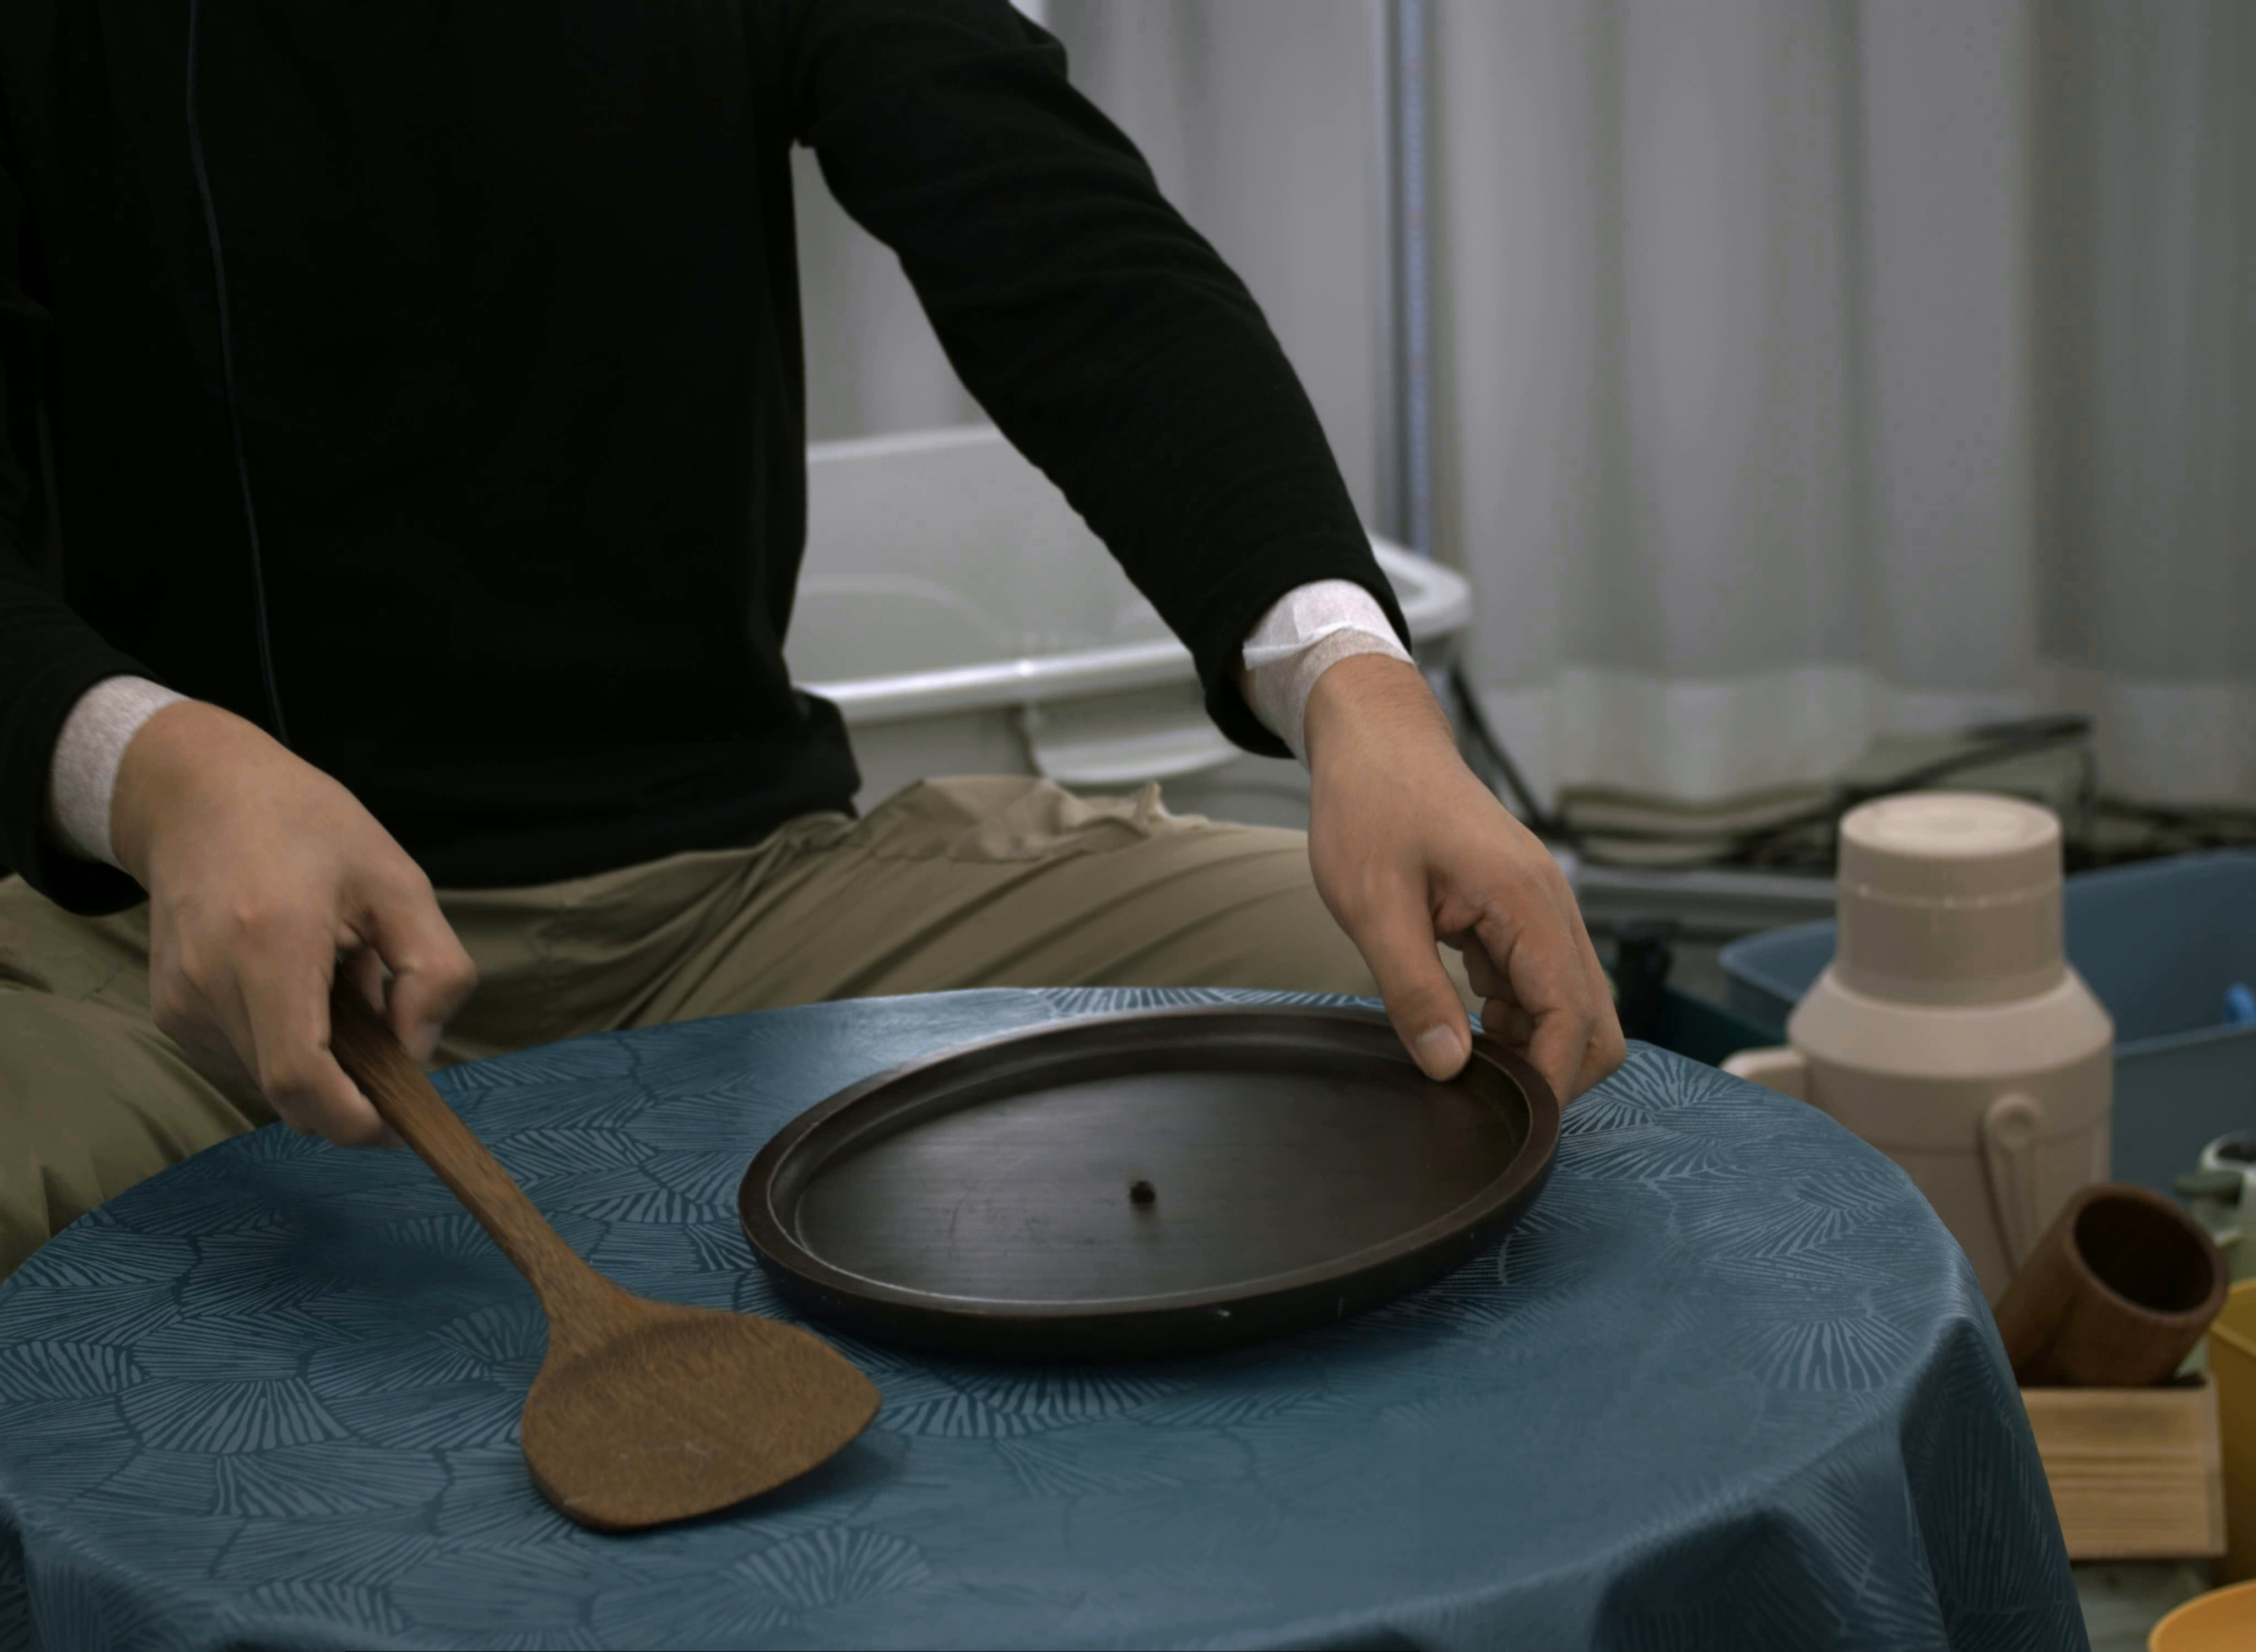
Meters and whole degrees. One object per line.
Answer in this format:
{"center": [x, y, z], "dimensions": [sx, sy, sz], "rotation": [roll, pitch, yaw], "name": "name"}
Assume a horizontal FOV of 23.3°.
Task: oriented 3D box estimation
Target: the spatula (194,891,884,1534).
{"center": [-0.196, 0.102, 1.614], "dimensions": [0.096, 0.015, 0.390], "rotation": [-20, 34, -24], "name": "spatula"}

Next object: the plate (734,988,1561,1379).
{"center": [0.007, 0.109, 1.664], "dimensions": [0.254, 0.029, 0.257], "rotation": [-6, 19, 2], "name": "plate"}
